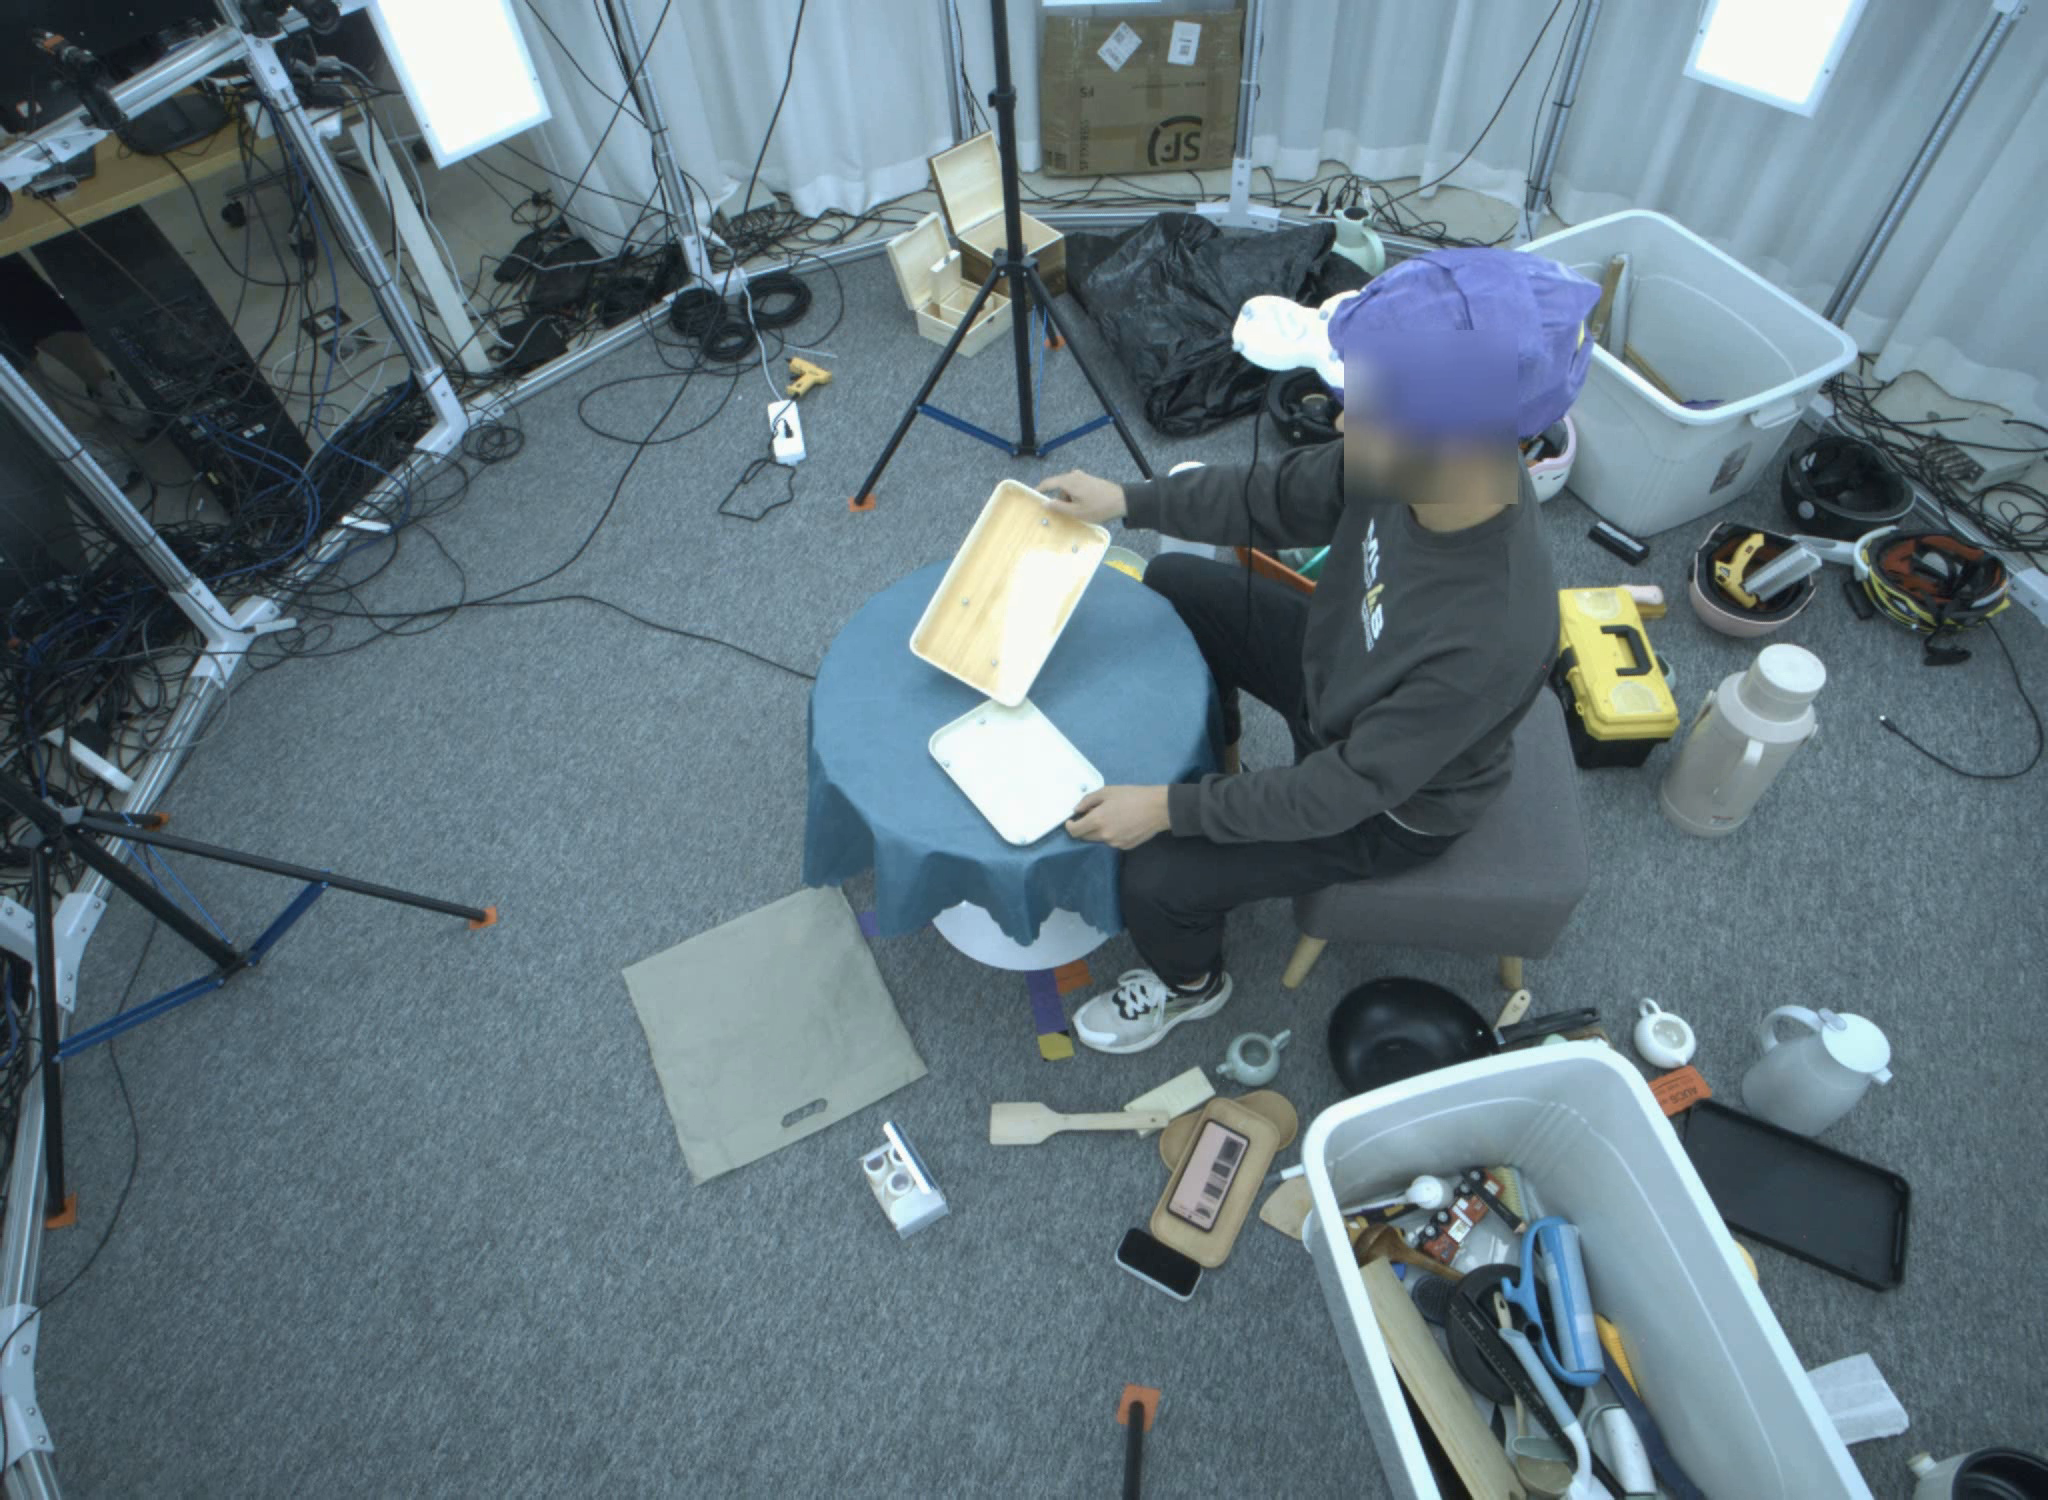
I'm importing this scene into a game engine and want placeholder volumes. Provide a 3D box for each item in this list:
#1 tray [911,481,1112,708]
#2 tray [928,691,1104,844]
[{"bbox_3d":[-0.019,-0.232,1.819,0.191,0.027,0.300,29,88,3],"label":"tray"},{"bbox_3d":[-0.013,0.023,1.758,0.173,0.017,0.235,-32,60,-20],"label":"tray"}]
